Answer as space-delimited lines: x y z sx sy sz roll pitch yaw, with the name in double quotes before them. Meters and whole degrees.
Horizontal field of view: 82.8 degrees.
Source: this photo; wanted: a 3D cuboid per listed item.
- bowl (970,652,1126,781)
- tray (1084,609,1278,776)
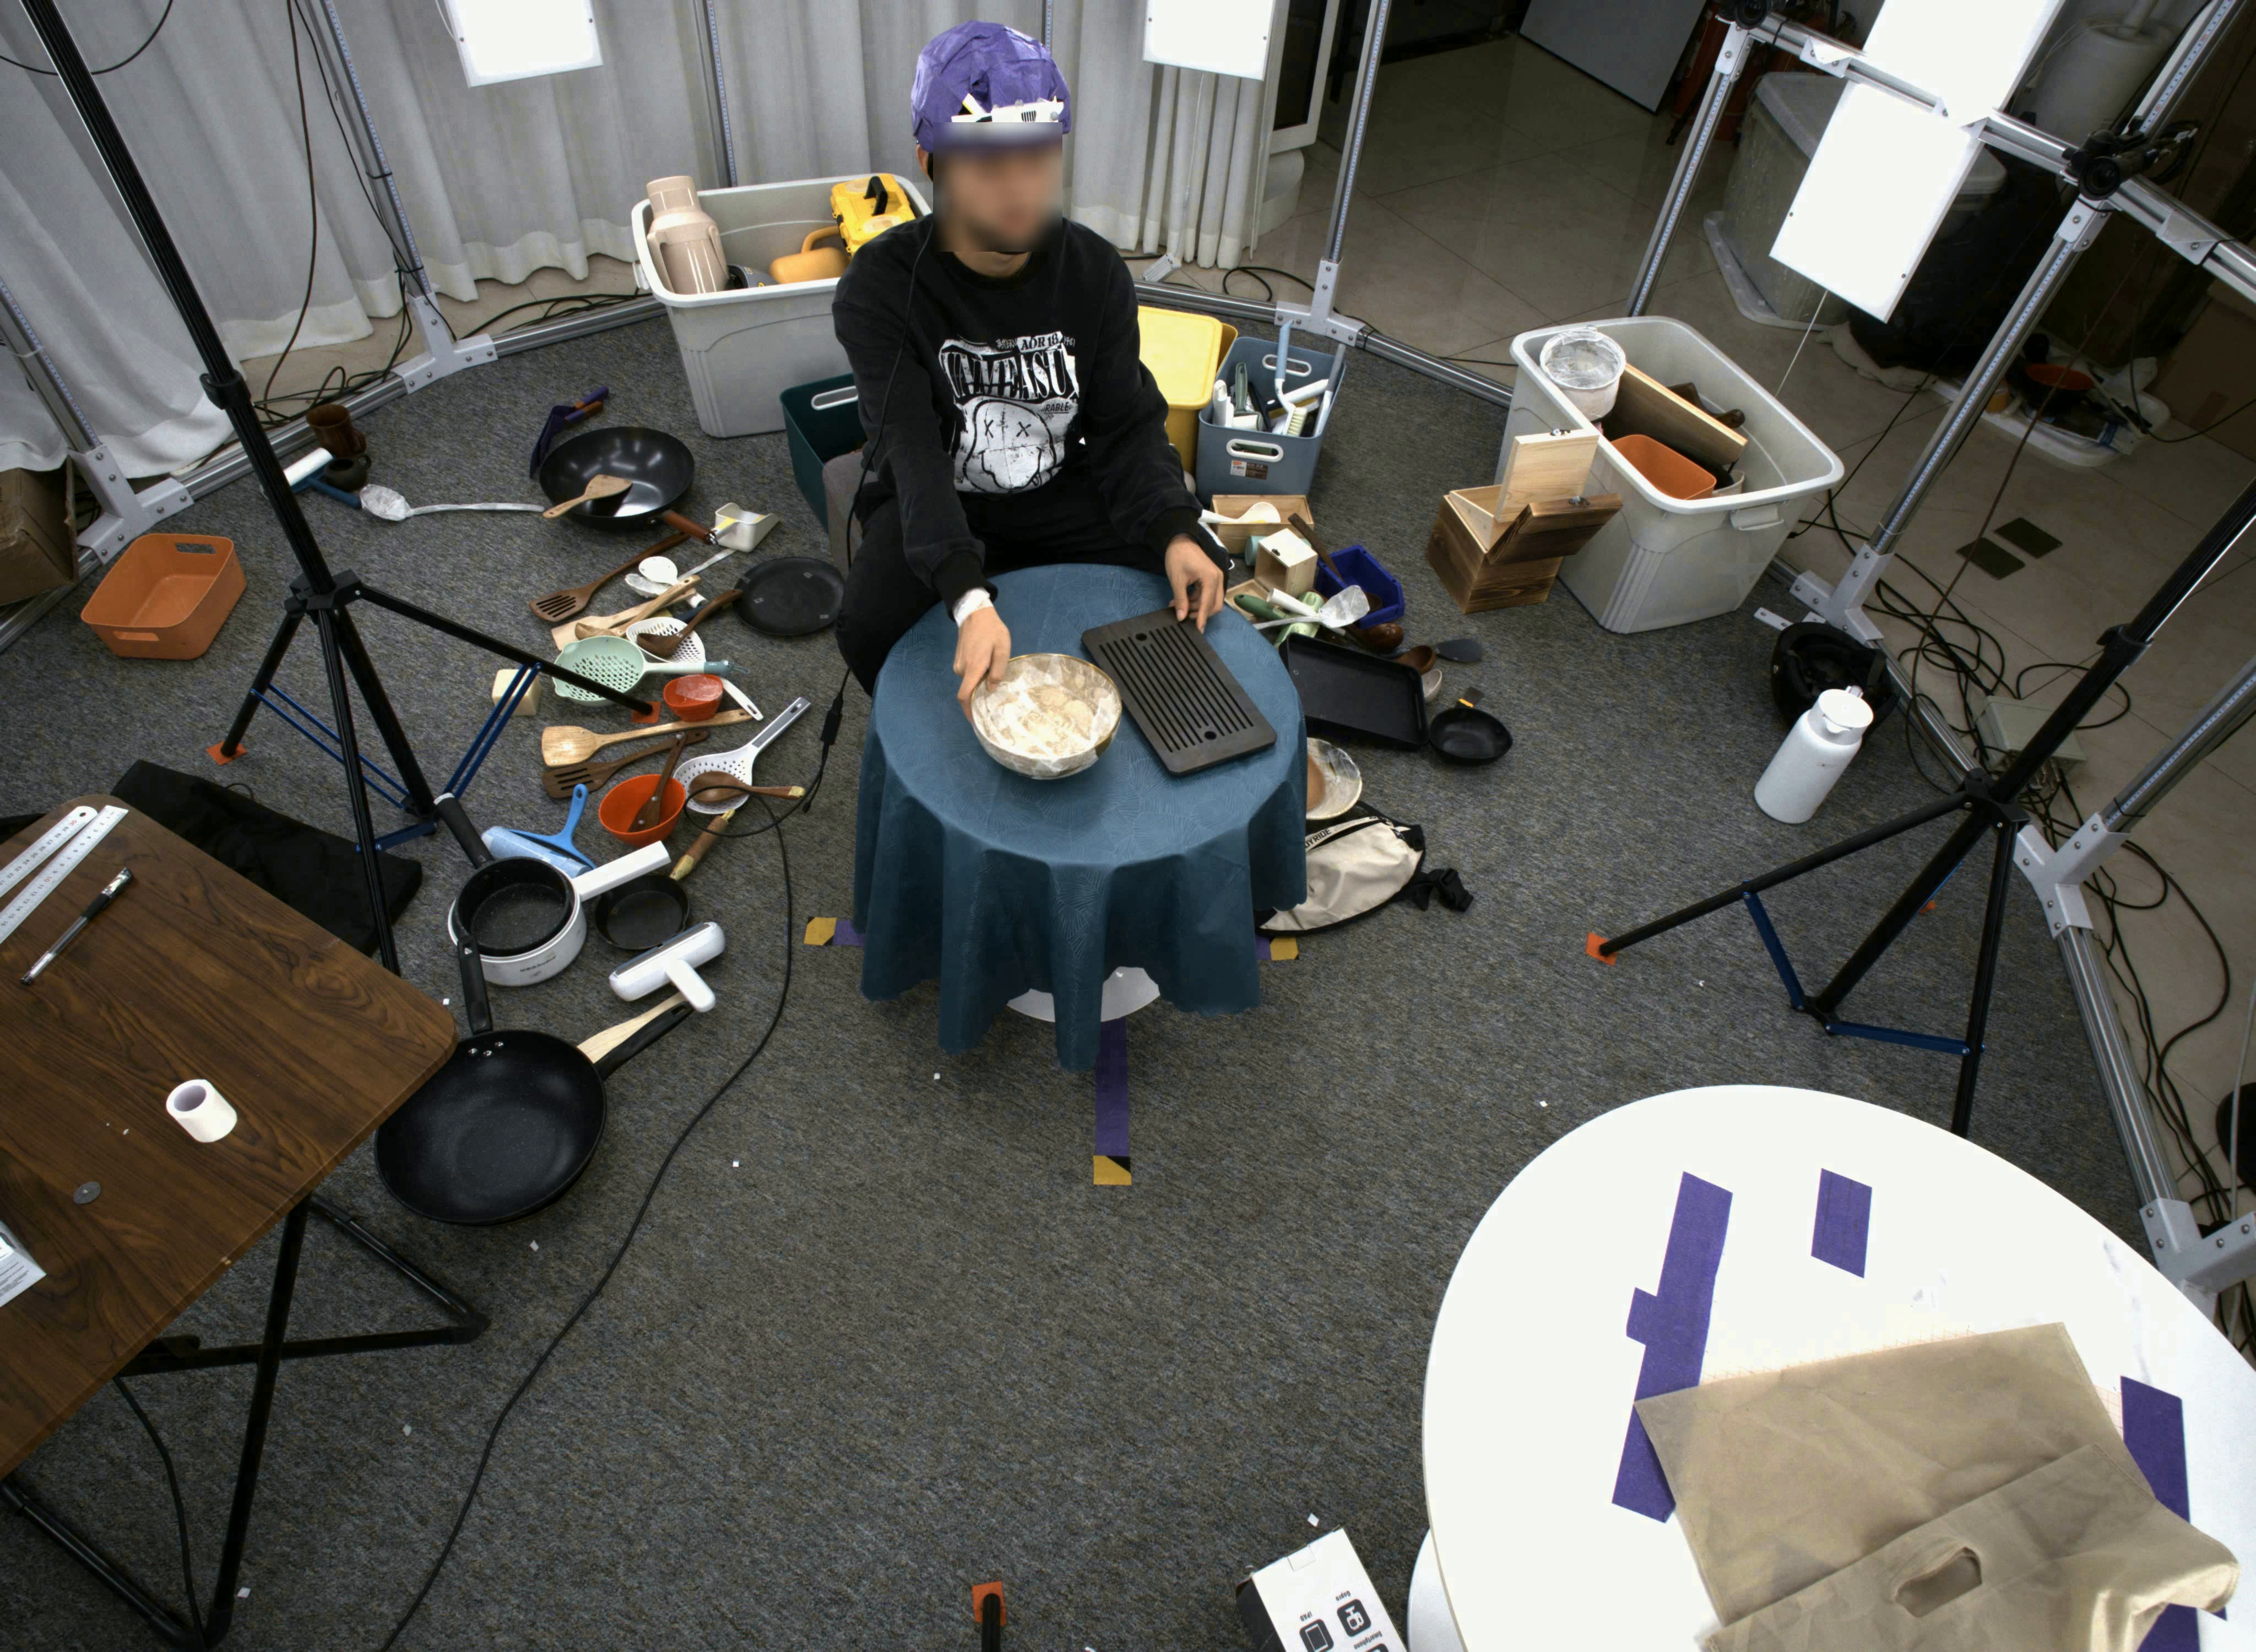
"bowl" -0.106 -0.134 1.733 0.214 0.092 0.220 1 48 -1
"tray" 0.072 -0.197 1.849 0.170 0.018 0.313 -18 52 -18
